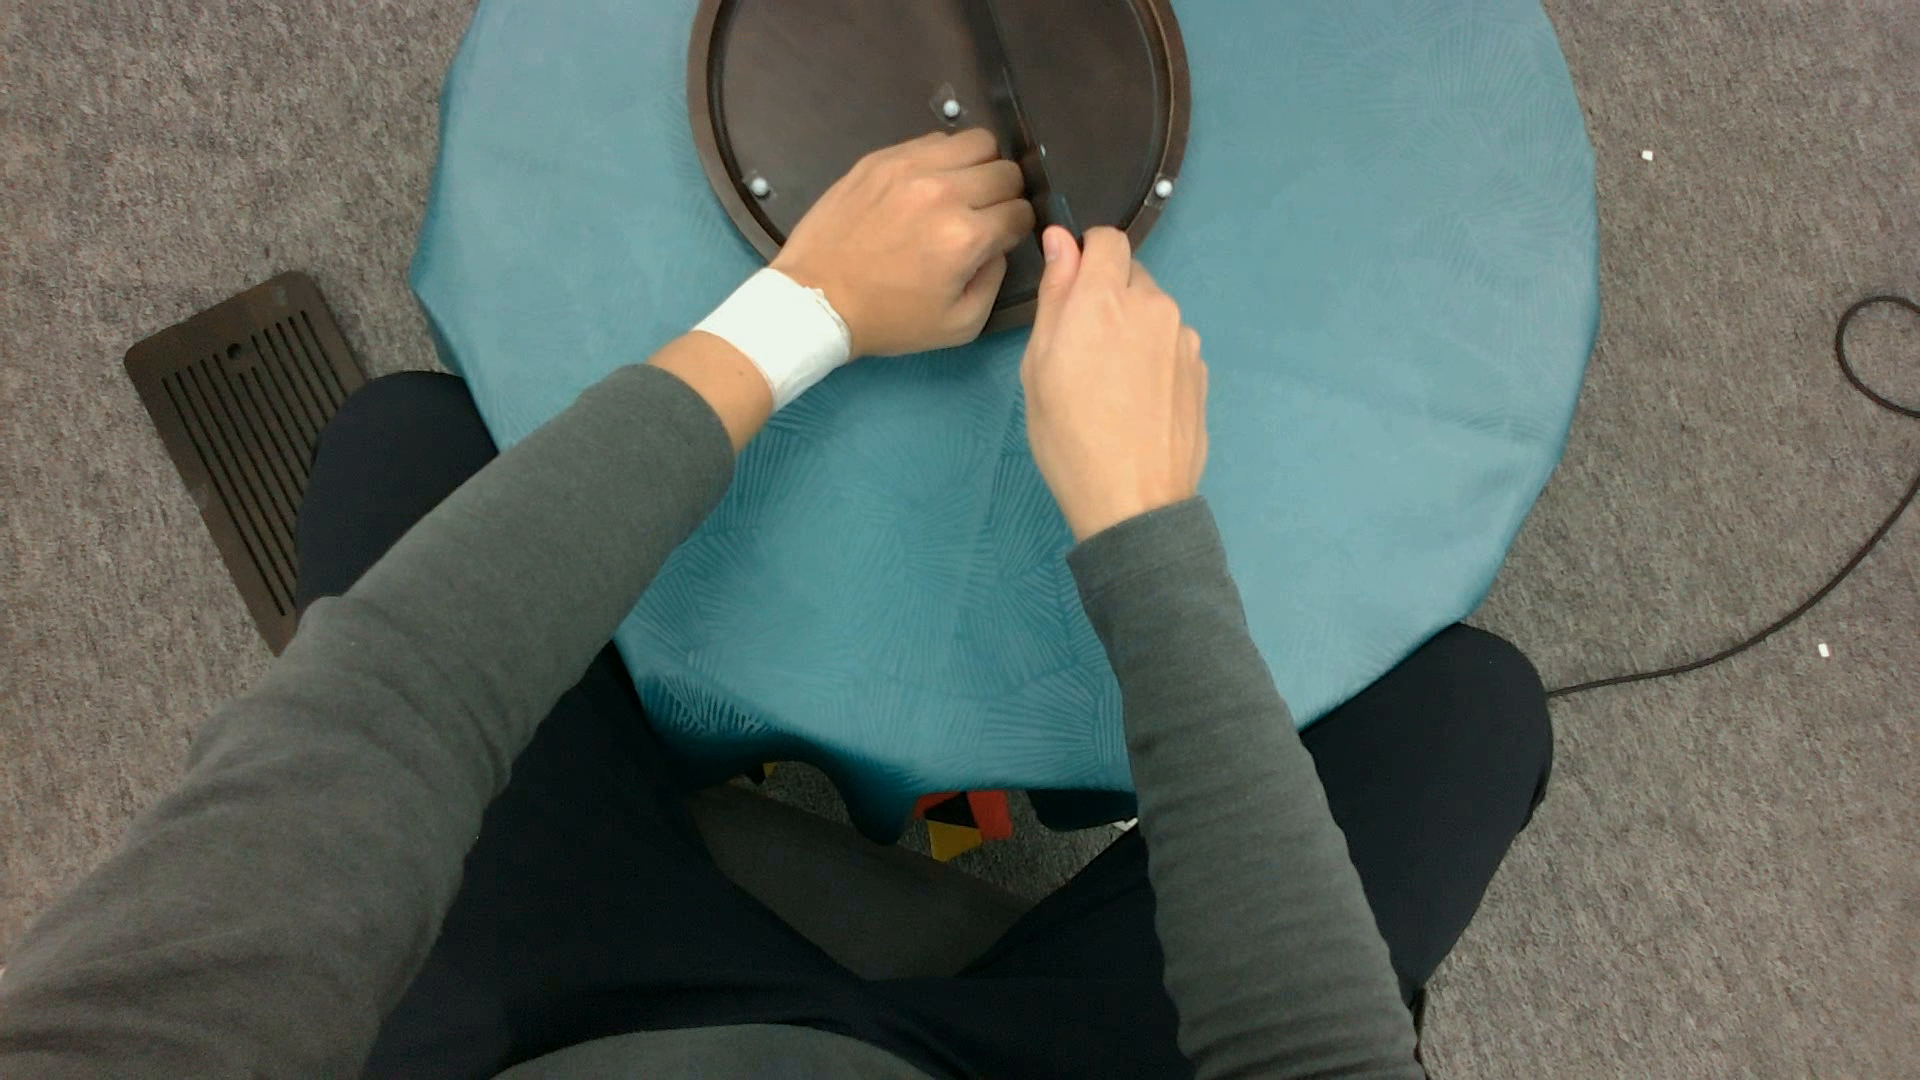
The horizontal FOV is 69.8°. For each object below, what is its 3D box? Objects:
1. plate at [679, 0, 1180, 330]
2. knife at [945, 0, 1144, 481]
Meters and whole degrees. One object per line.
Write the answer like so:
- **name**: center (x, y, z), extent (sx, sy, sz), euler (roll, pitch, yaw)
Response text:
- **plate**: center (-0.014, -0.229, 0.700), extent (0.255, 0.029, 0.255), euler (1, 83, -7)
- **knife**: center (0.026, -0.171, 0.639), extent (0.021, 0.081, 0.302), euler (-18, 82, -5)
